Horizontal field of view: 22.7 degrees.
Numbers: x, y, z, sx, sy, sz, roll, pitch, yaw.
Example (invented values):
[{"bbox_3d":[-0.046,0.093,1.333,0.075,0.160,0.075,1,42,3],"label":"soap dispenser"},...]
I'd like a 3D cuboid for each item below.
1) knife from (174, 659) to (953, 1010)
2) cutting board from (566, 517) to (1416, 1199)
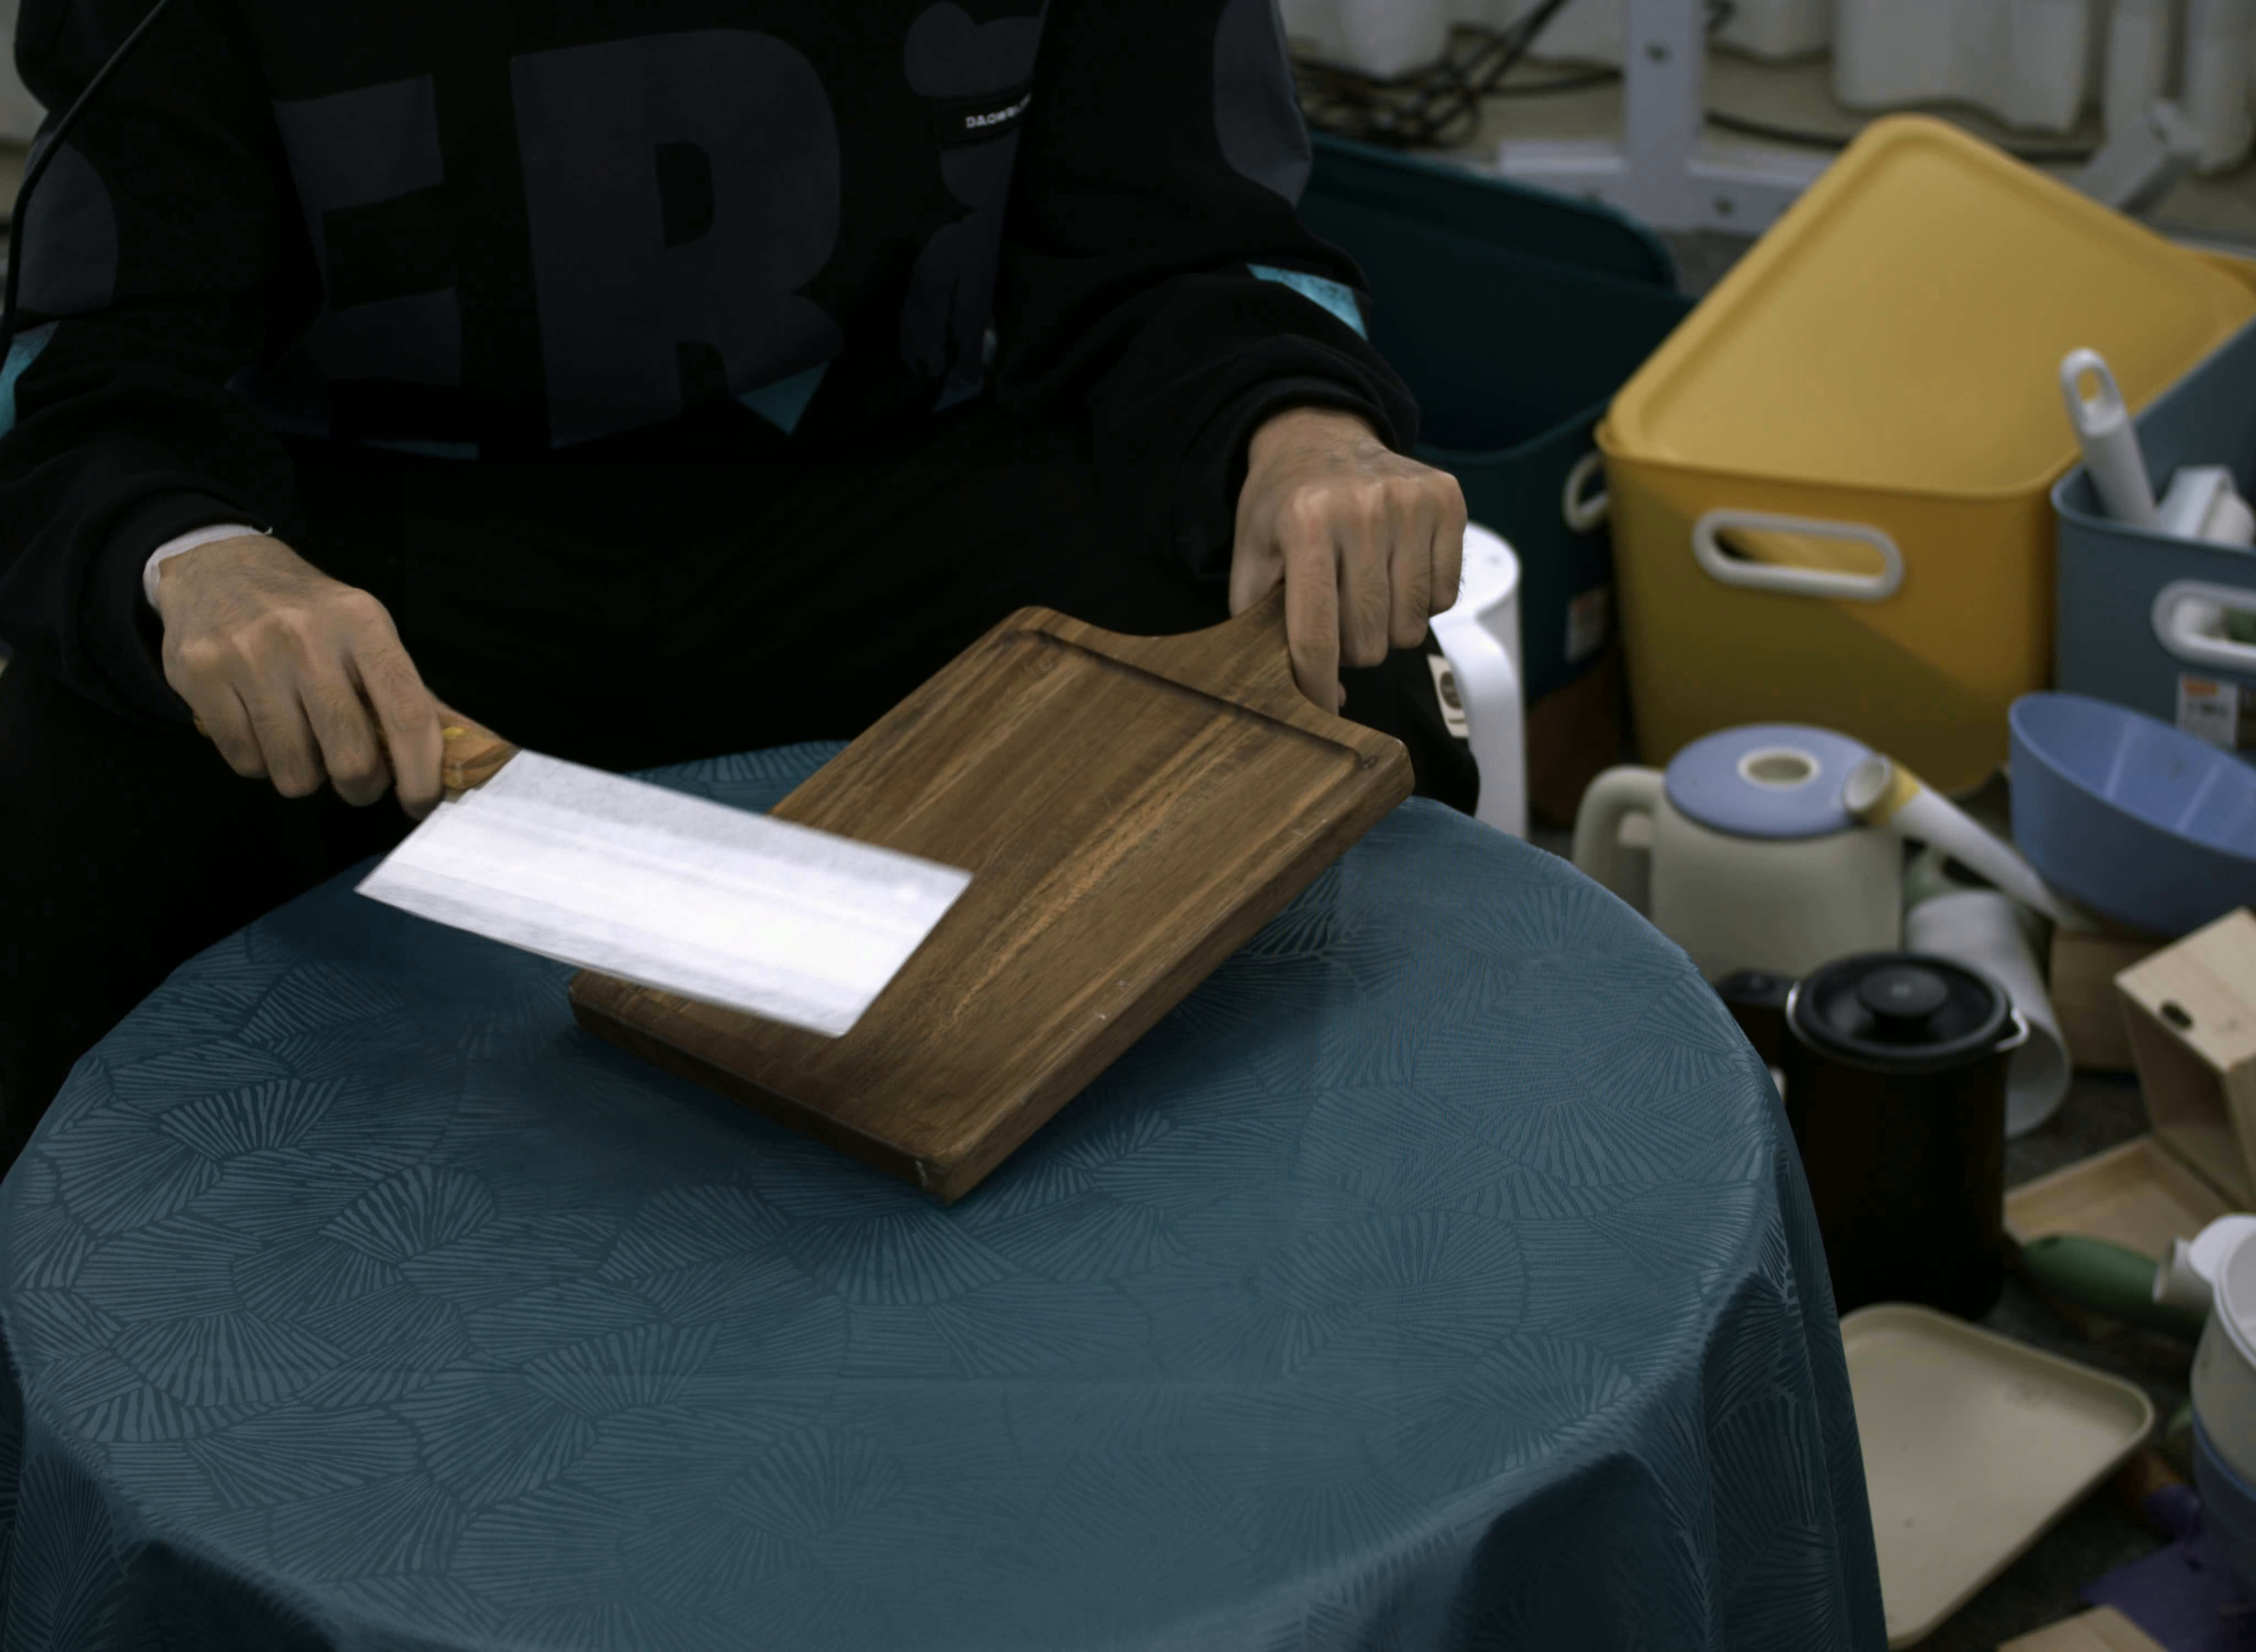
[{"bbox_3d":[-0.207,0.006,1.899,0.304,0.021,0.094,16,40,23],"label":"knife"},{"bbox_3d":[-0.016,-0.007,2.003,0.200,0.023,0.357,20,48,38],"label":"cutting board"}]
